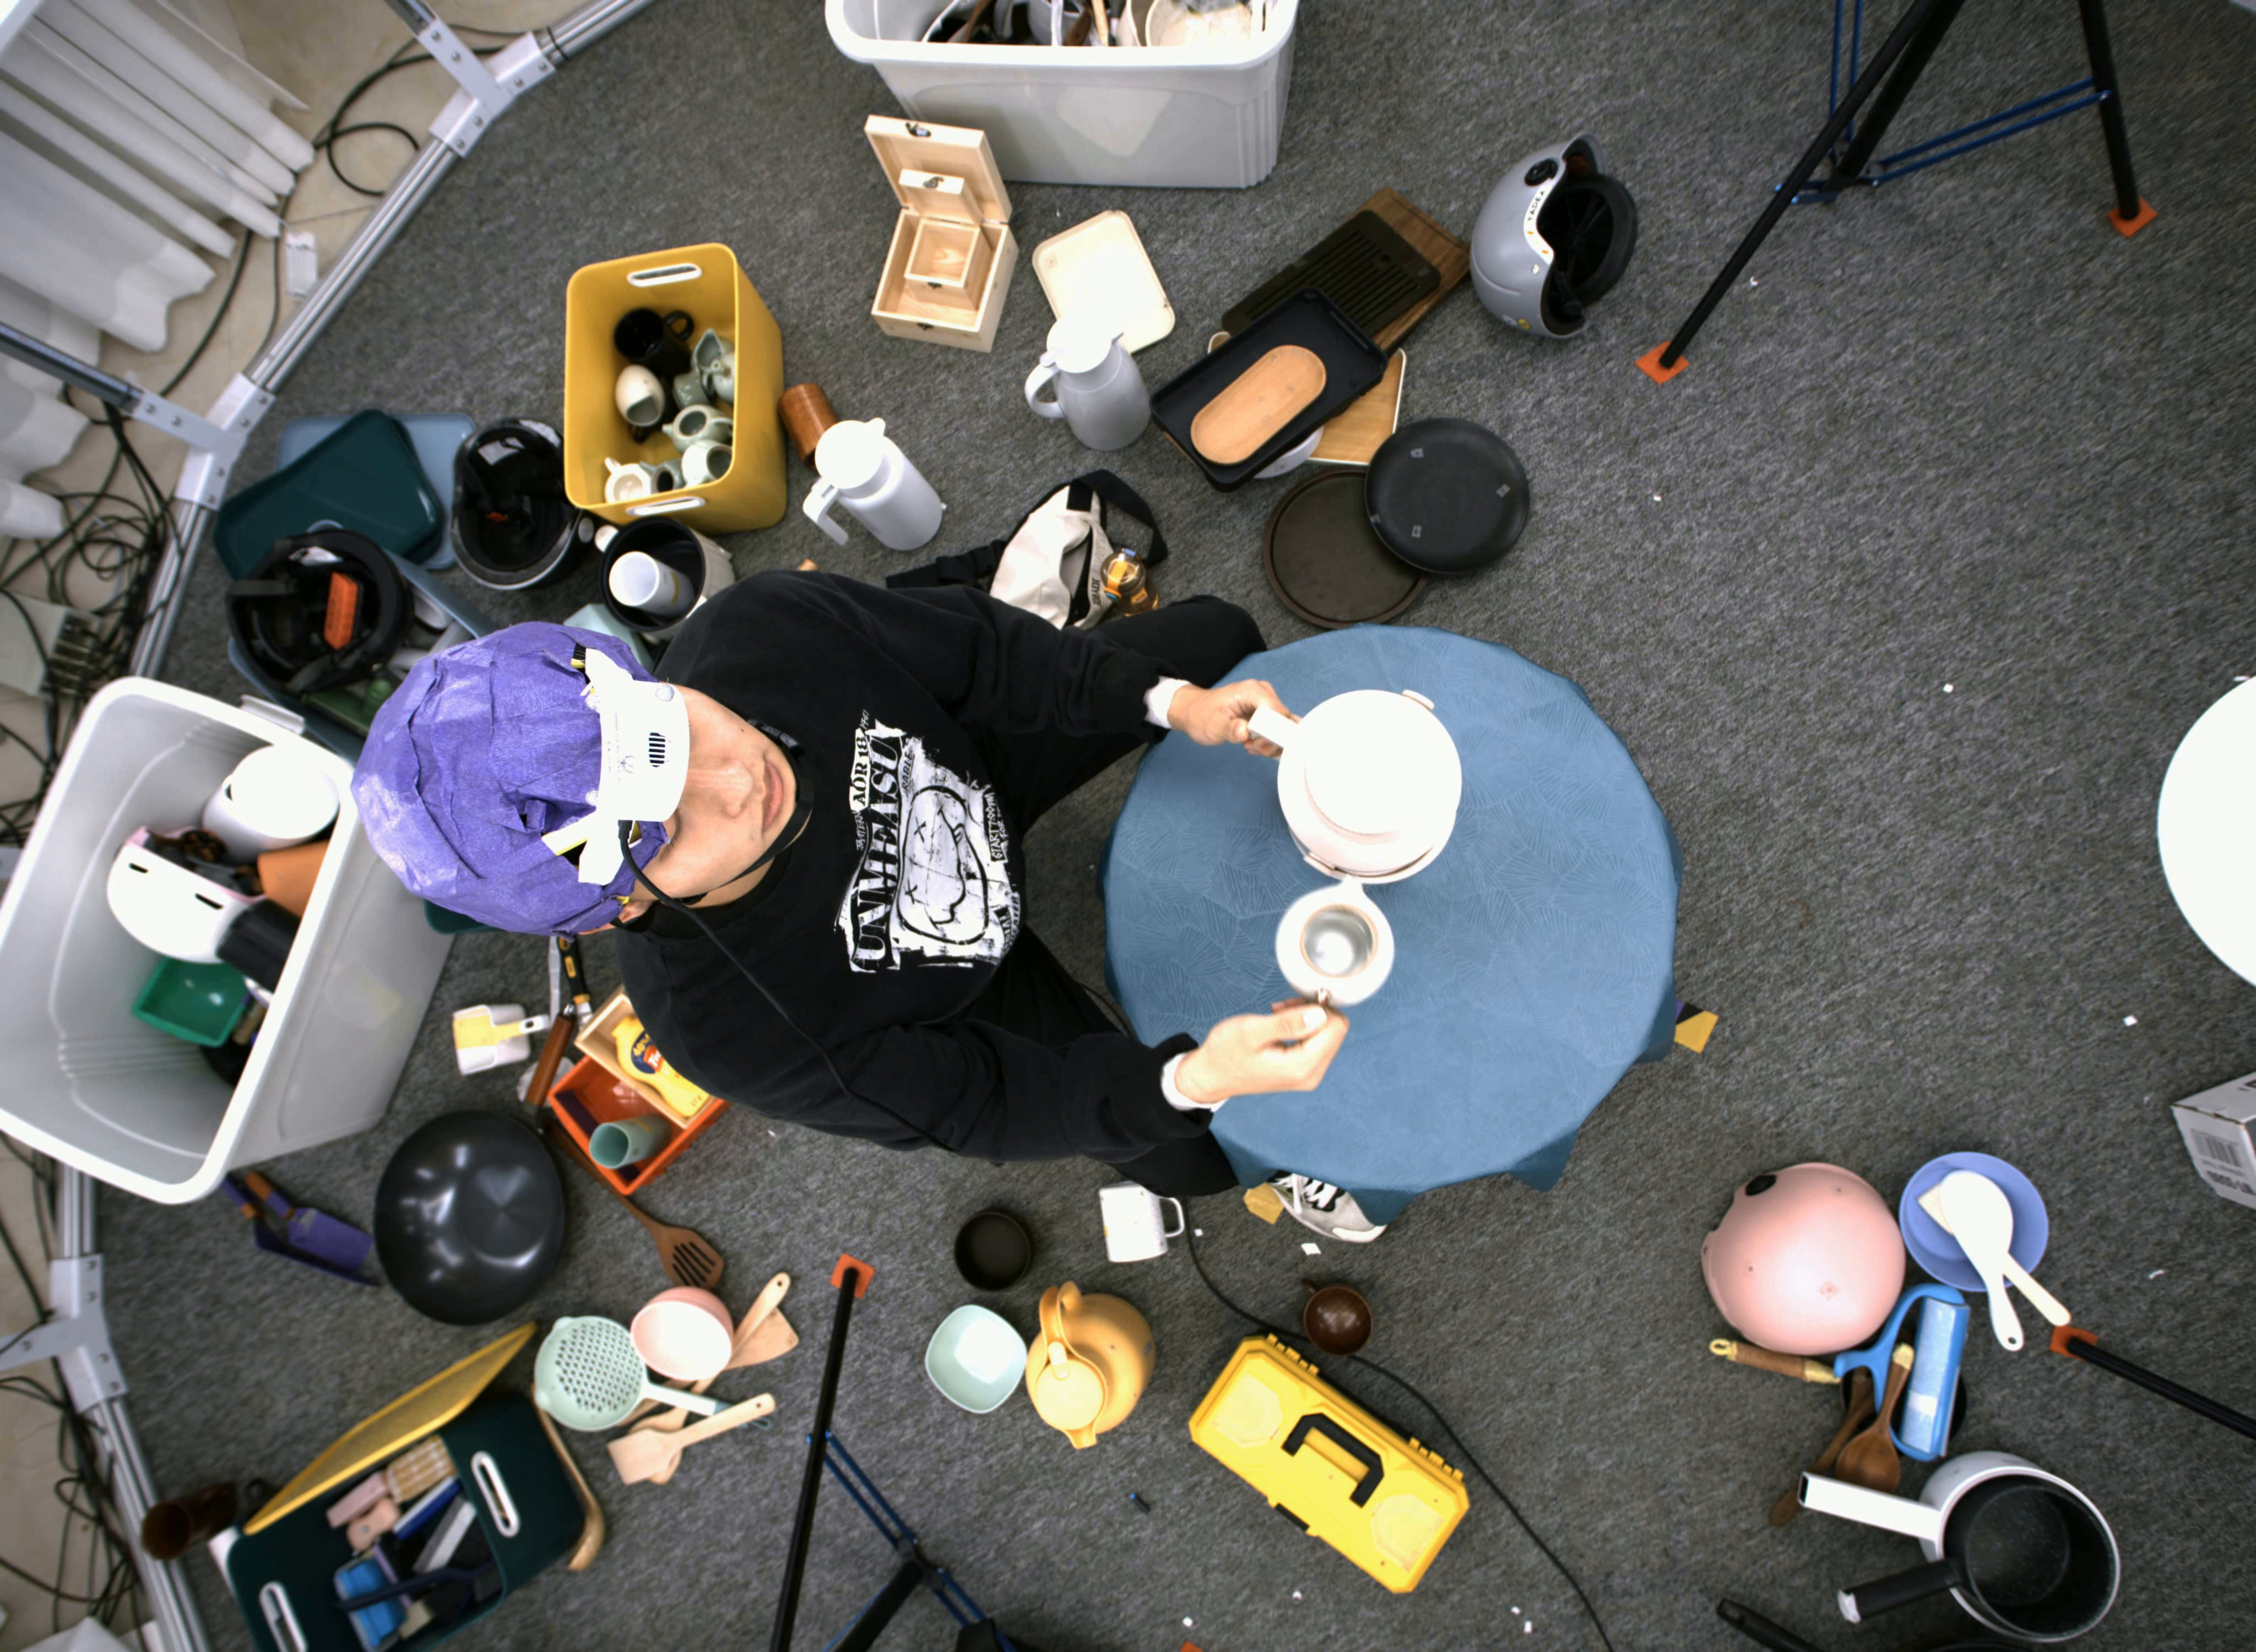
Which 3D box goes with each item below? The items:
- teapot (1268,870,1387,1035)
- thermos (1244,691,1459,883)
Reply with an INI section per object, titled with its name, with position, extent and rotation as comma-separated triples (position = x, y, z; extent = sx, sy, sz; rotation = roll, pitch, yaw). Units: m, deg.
[teapot]
position = 0.152, 0.098, 1.069
extent = 0.092, 0.060, 0.126
rotation = 14, 78, 2
[thermos]
position = 0.207, -0.041, 1.274
extent = 0.207, 0.405, 0.176
rotation = 29, 93, 9
